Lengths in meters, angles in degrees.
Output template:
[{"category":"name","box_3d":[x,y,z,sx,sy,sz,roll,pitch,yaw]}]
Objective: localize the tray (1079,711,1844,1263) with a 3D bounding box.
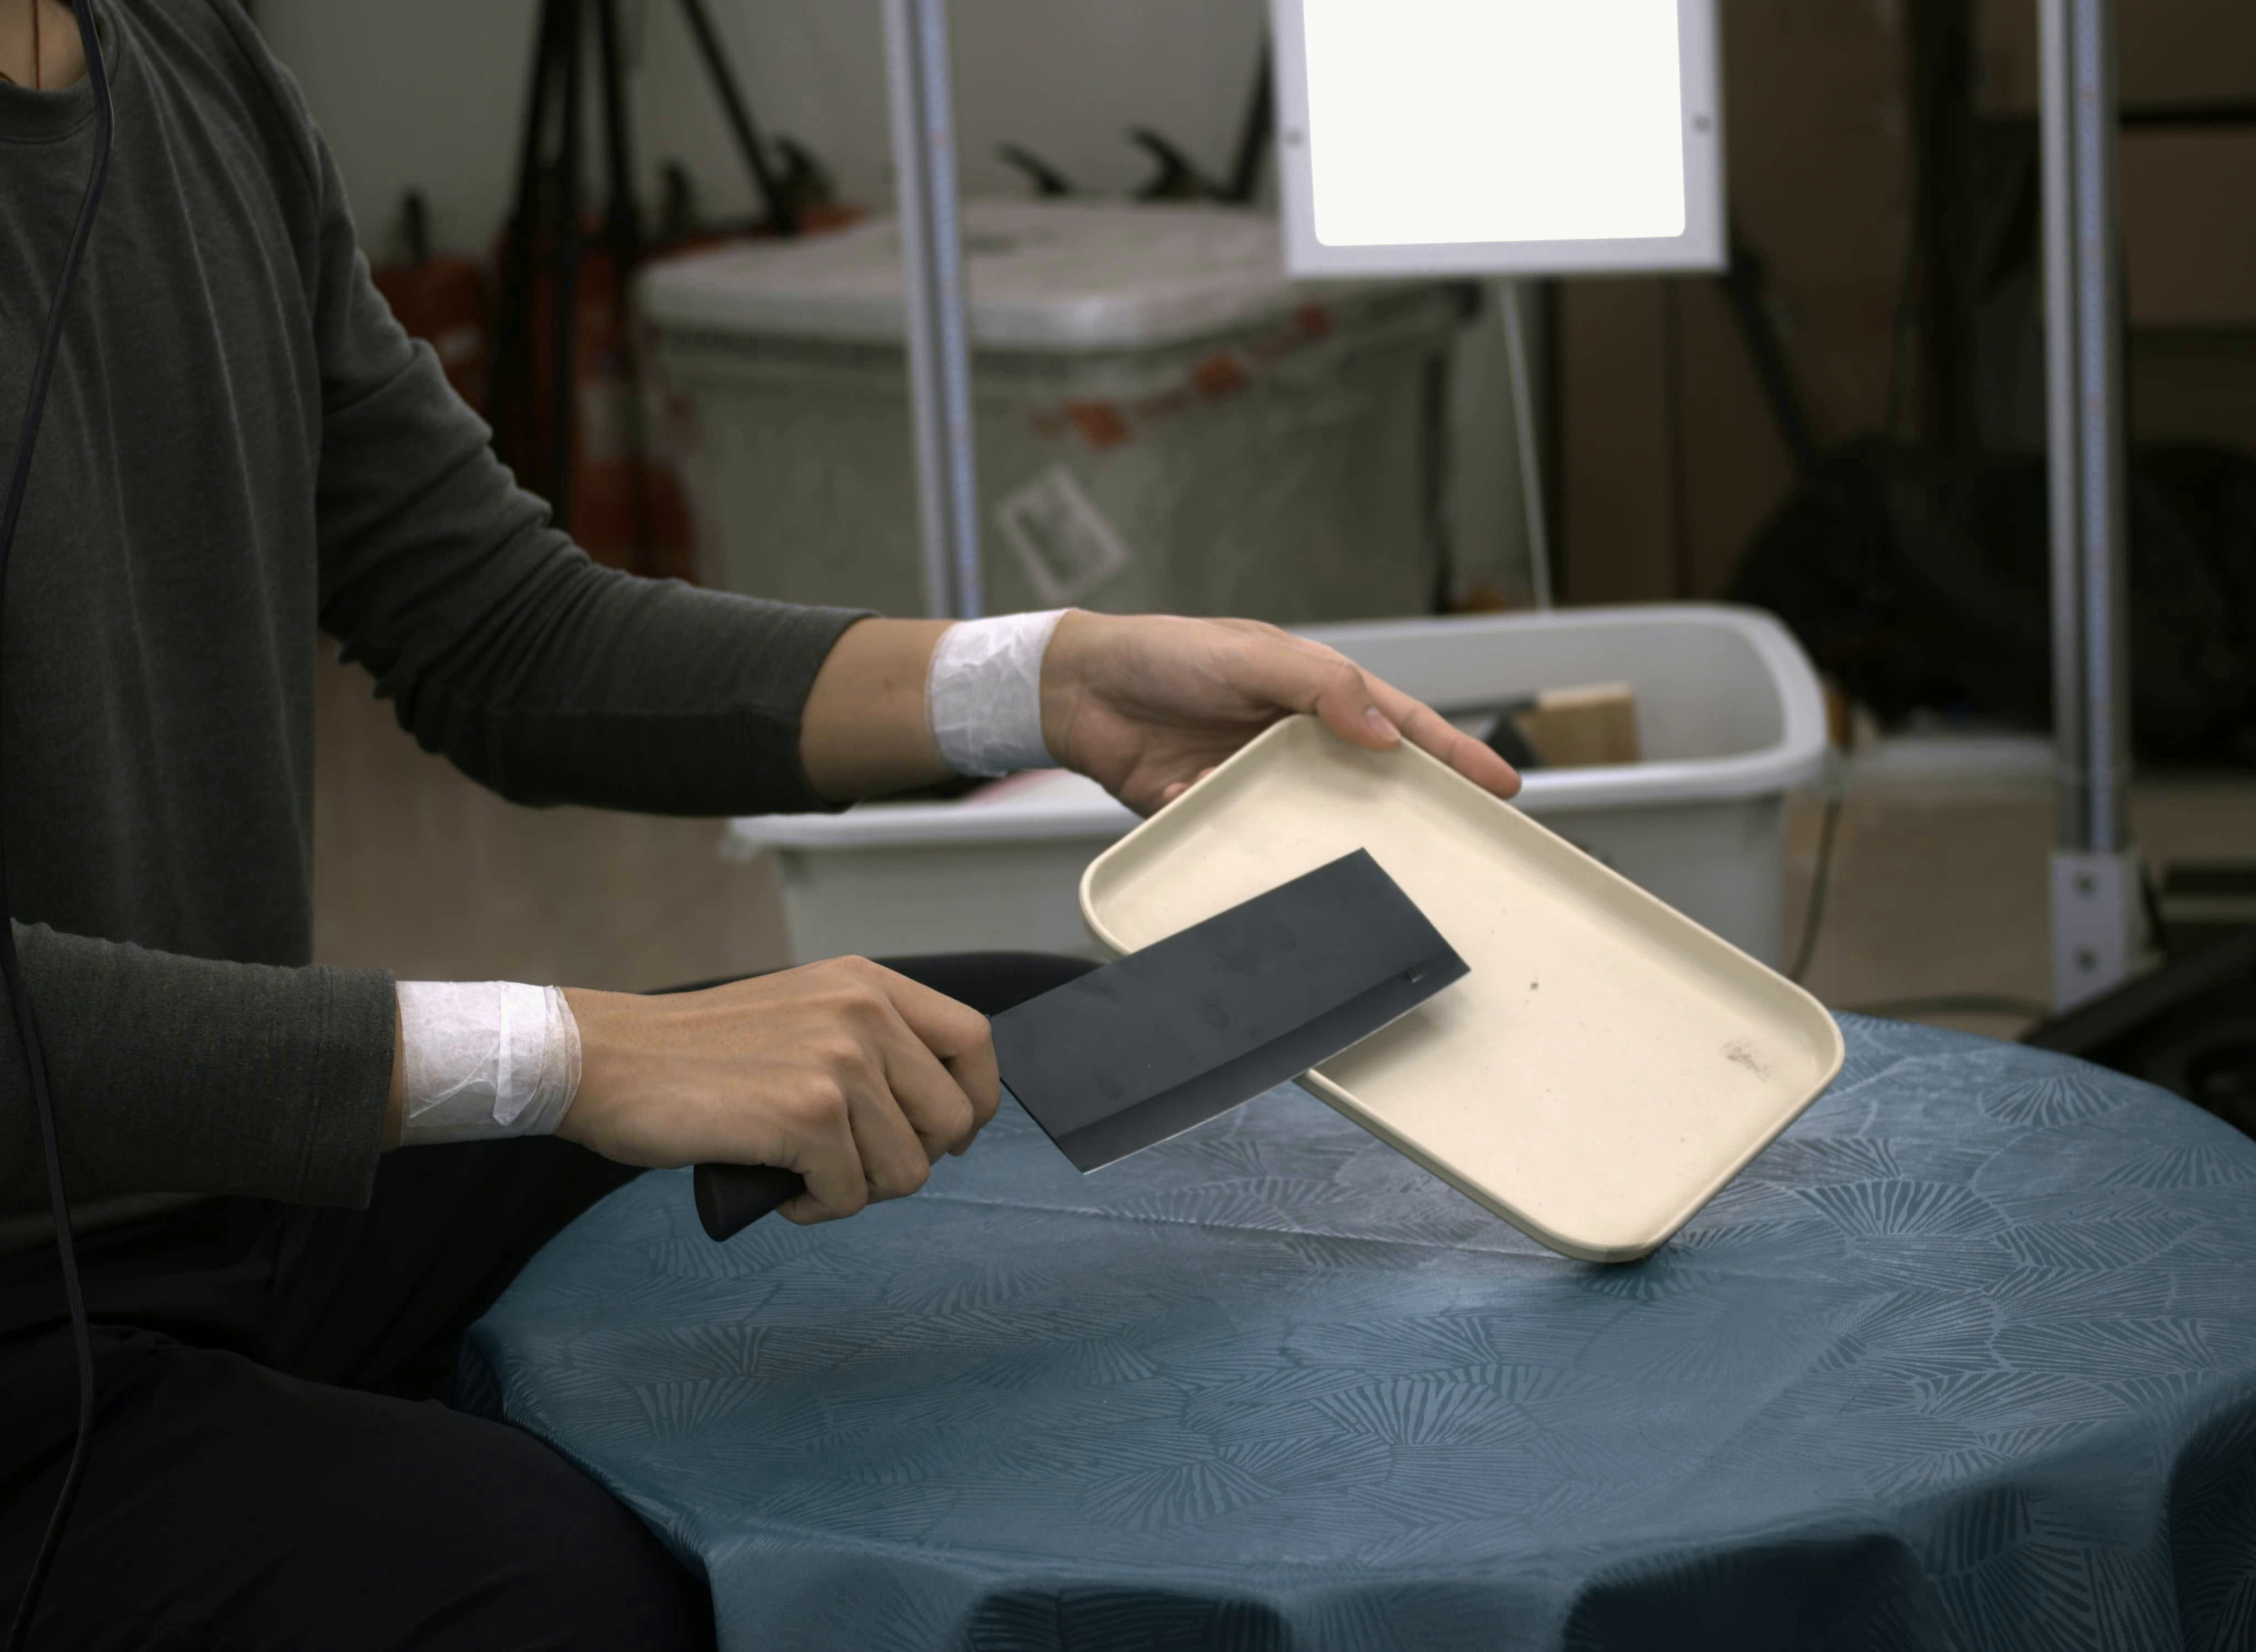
[{"category":"tray","box_3d":[0.113,0.053,1.863,0.242,0.017,0.167,33,44,22]}]

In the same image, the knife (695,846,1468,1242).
[{"category":"knife","box_3d":[-0.014,0.075,1.787,0.295,0.021,0.082,-20,57,-31]}]
